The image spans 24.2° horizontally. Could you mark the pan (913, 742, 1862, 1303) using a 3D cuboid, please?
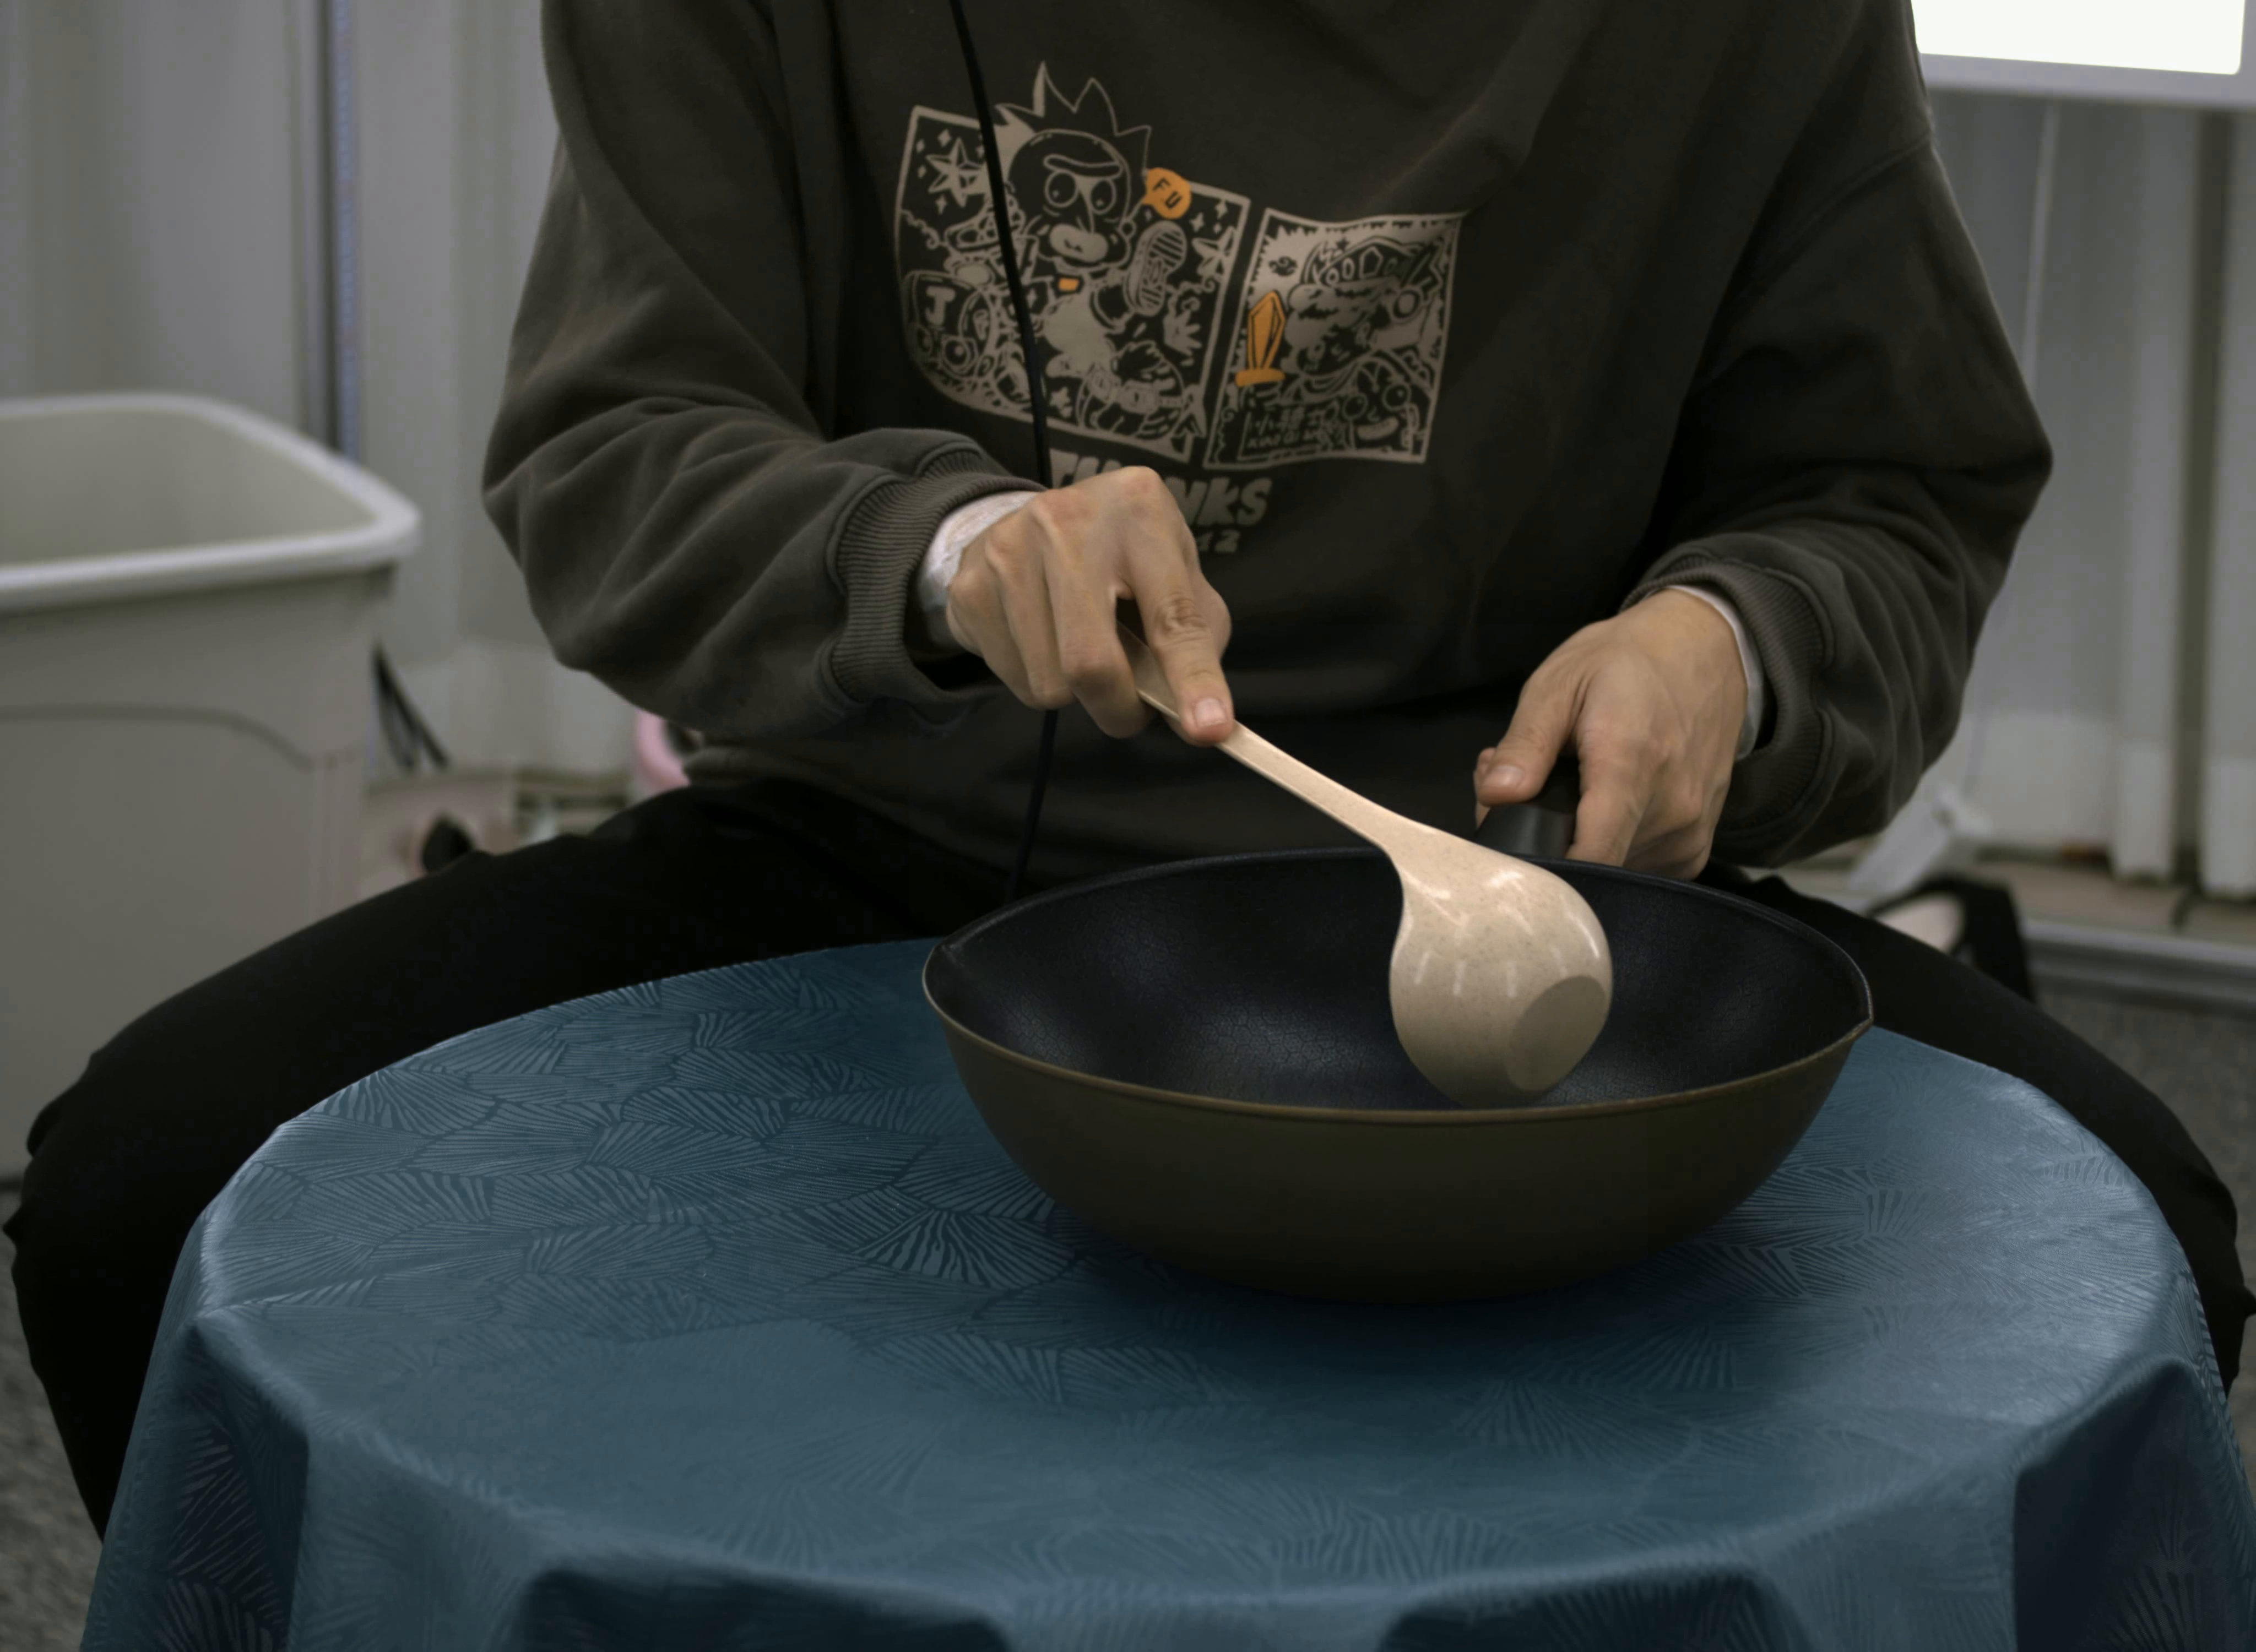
[{"bbox_3d":[0.102,0.059,1.673,0.286,0.087,0.463,5,15,15],"label":"pan"}]

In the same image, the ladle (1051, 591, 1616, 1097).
[{"bbox_3d":[0.055,0.006,1.622,0.072,0.074,0.251,-28,39,-23],"label":"ladle"}]
